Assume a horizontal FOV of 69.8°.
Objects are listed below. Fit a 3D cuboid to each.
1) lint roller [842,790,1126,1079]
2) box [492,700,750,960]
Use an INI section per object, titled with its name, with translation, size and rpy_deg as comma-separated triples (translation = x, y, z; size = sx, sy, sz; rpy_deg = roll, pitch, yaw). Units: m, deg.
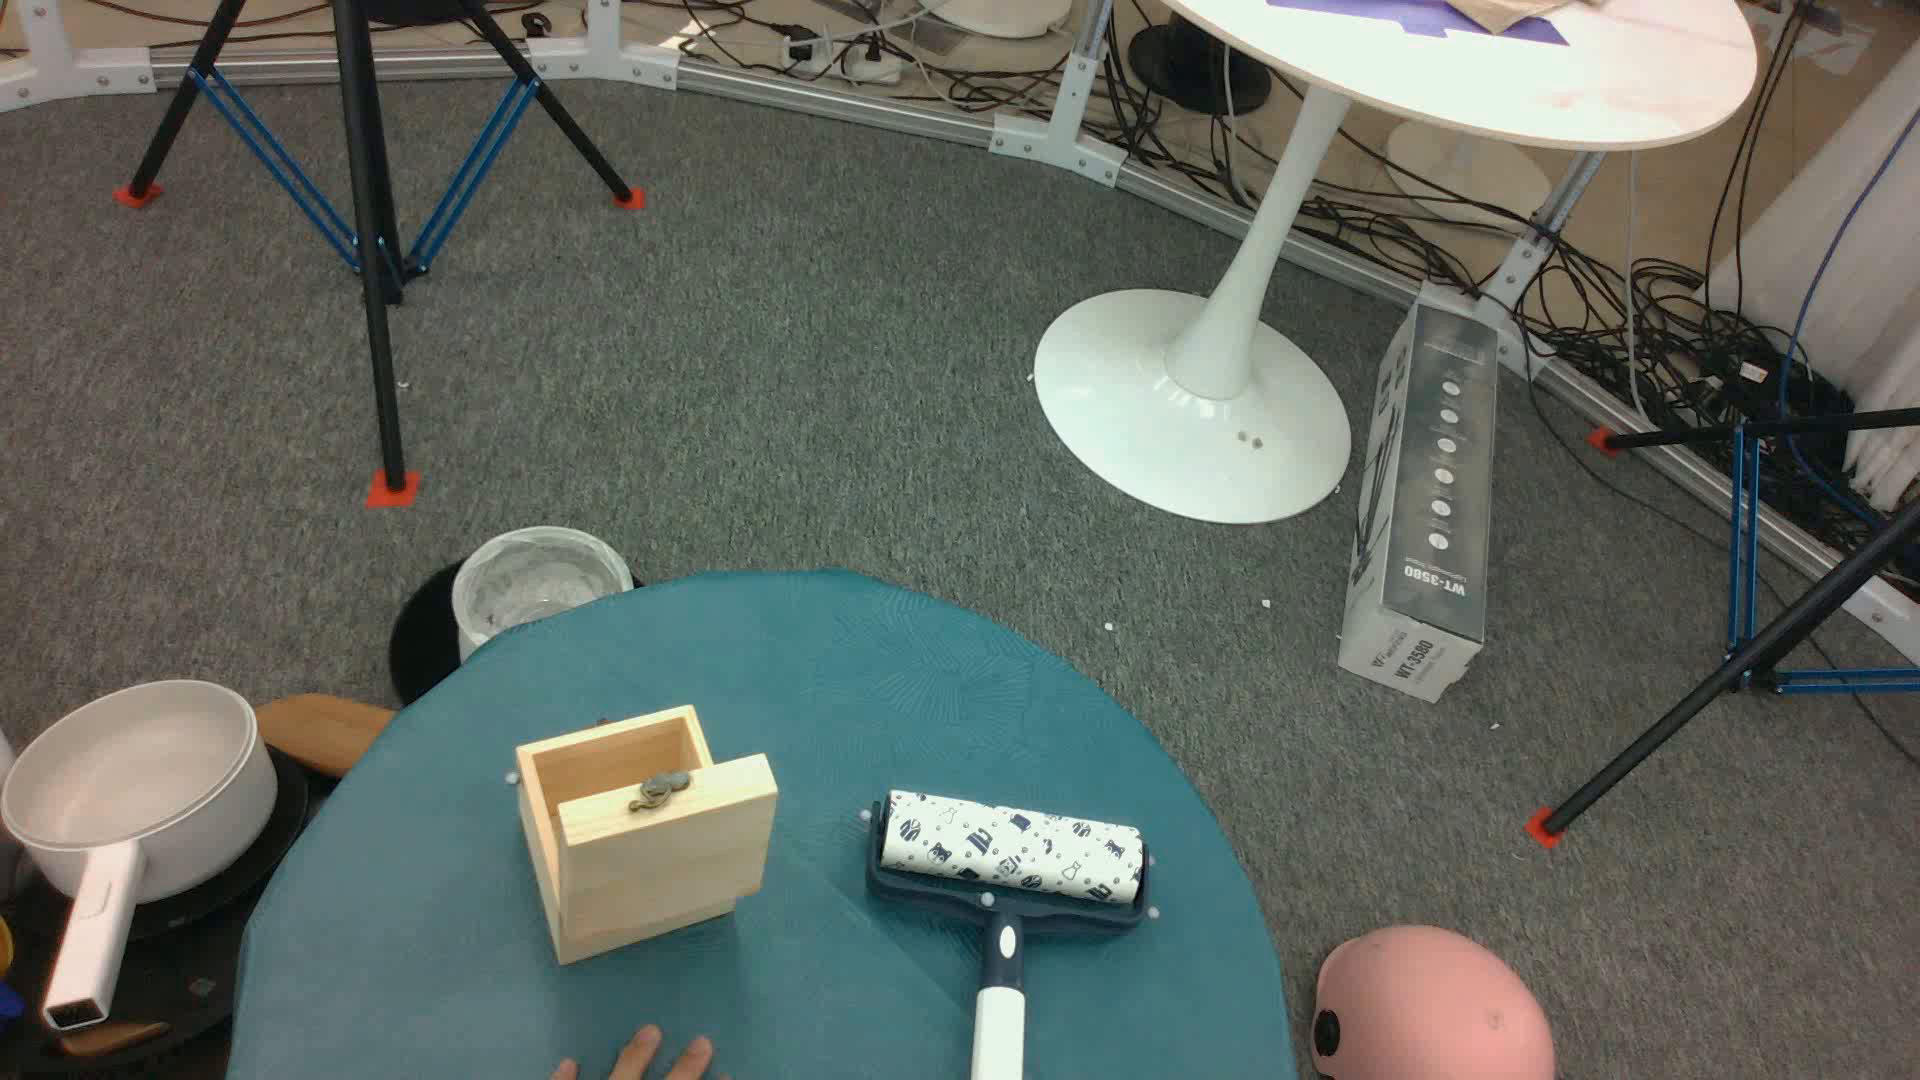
[lint roller]
translation = 0.012, 0.267, 0.790
size = 0.176, 0.050, 0.248
rpy_deg = 11, 49, -9
[box]
translation = -0.190, 0.140, 0.747
size = 0.103, 0.183, 0.134
rpy_deg = -13, 56, -25
